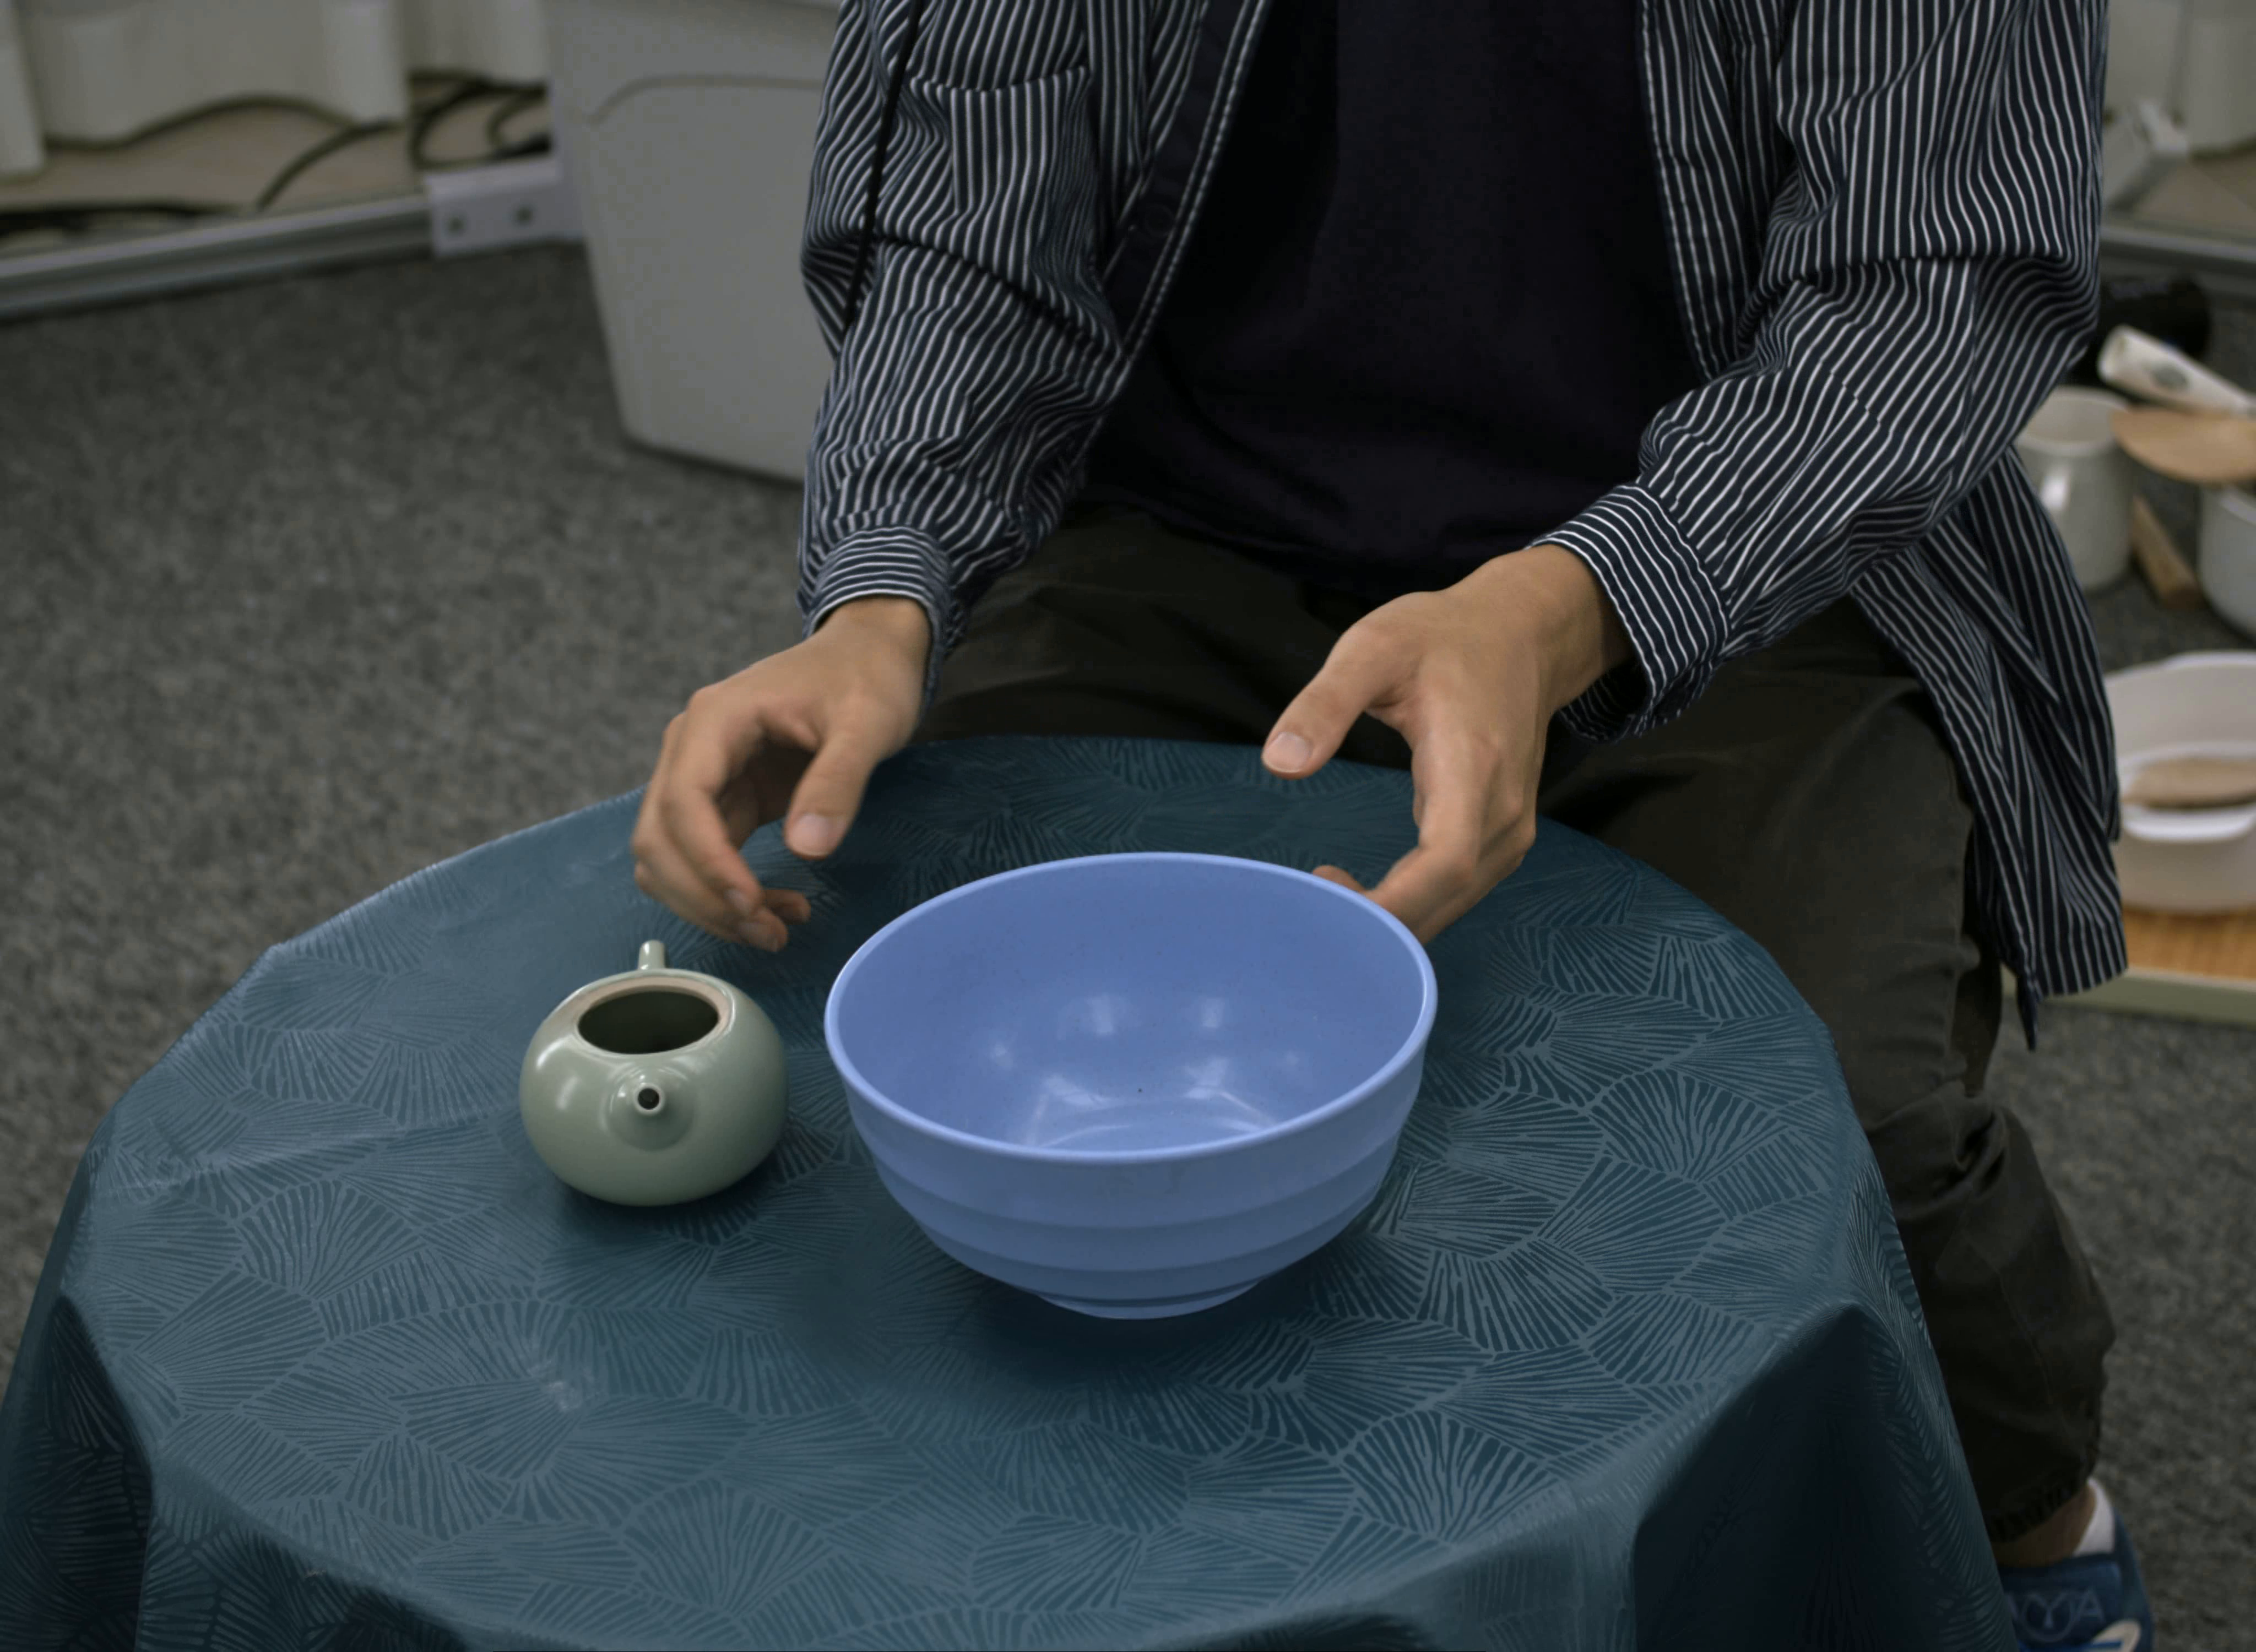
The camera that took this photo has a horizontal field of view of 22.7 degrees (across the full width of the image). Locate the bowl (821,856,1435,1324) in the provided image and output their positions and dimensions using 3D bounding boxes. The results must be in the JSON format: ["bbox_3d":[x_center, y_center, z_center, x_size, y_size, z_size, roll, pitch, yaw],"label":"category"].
[{"bbox_3d":[0.003,0.096,1.806,0.195,0.094,0.199,-3,27,2],"label":"bowl"}]

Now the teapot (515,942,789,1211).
[{"bbox_3d":[-0.158,0.085,1.881,0.091,0.060,0.130,-4,26,3],"label":"teapot"}]
